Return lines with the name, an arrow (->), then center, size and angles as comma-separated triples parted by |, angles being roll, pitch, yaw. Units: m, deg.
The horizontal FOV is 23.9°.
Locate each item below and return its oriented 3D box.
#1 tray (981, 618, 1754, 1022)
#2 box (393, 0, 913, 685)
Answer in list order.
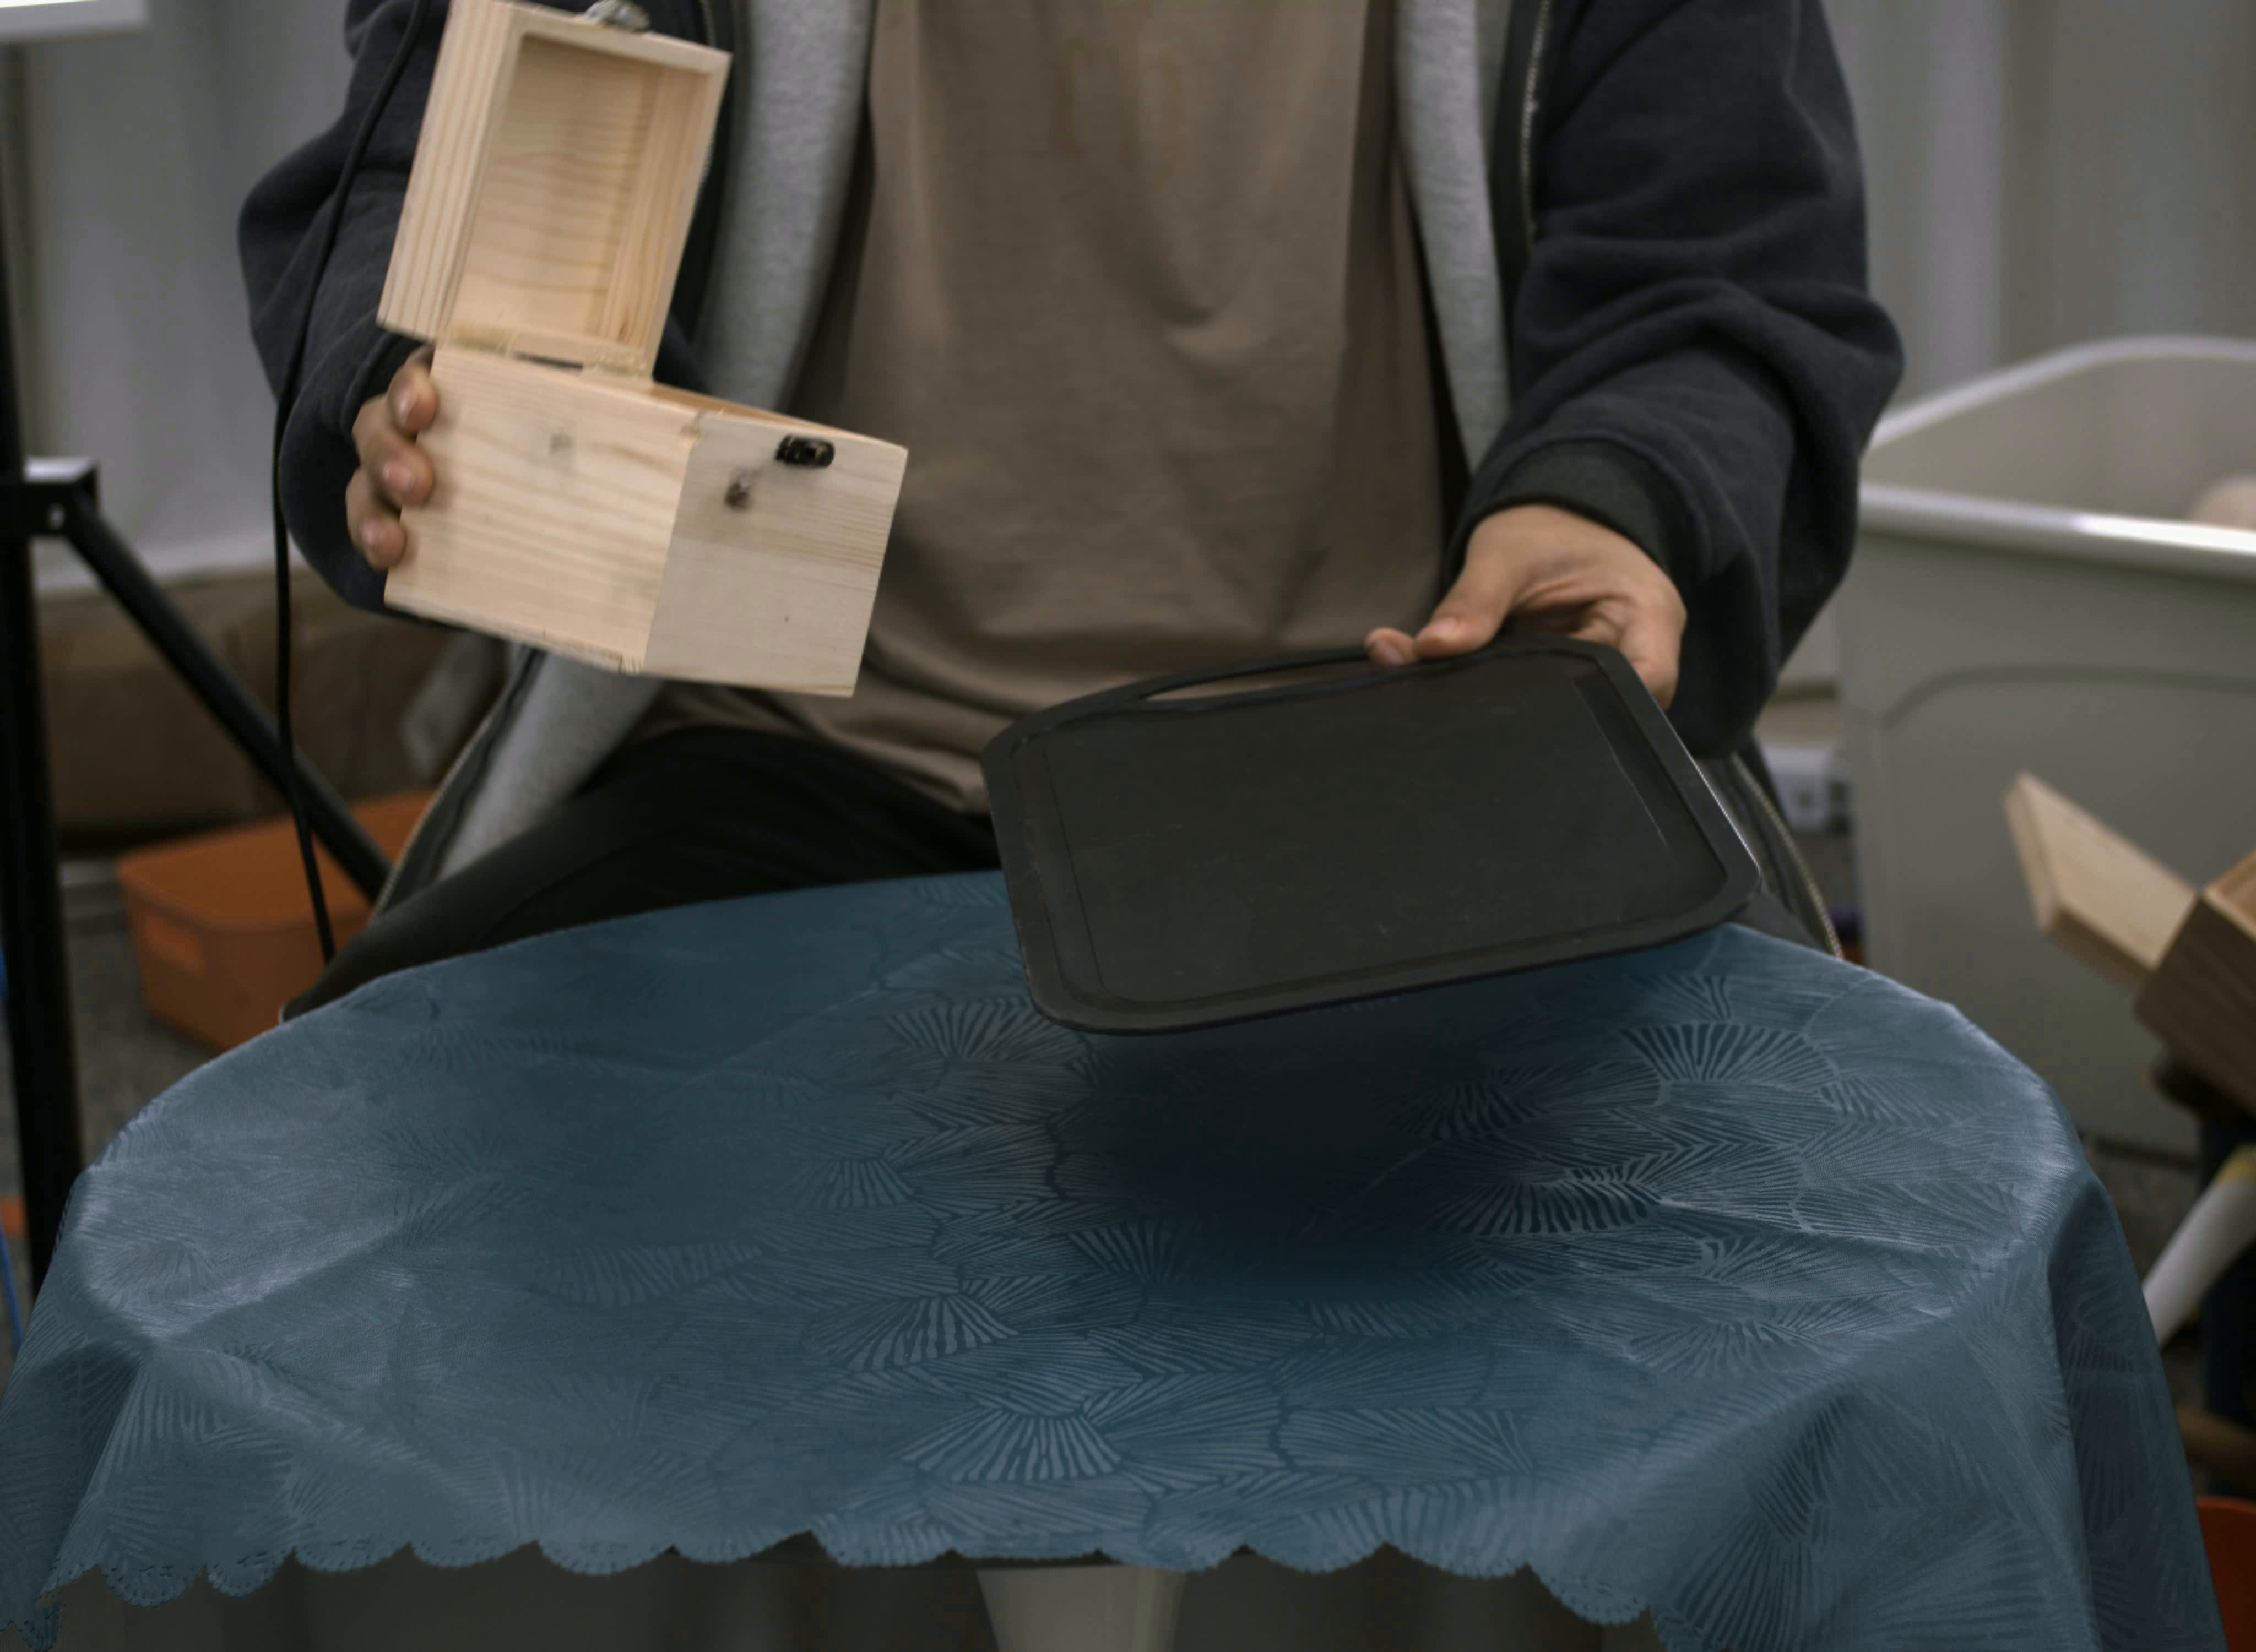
tray -> 0.063, -0.009, 1.606 | 0.210, 0.010, 0.328 | -10, 19, -1
box -> -0.135, -0.147, 1.574 | 0.137, 0.185, 0.100 | 16, 6, 35
